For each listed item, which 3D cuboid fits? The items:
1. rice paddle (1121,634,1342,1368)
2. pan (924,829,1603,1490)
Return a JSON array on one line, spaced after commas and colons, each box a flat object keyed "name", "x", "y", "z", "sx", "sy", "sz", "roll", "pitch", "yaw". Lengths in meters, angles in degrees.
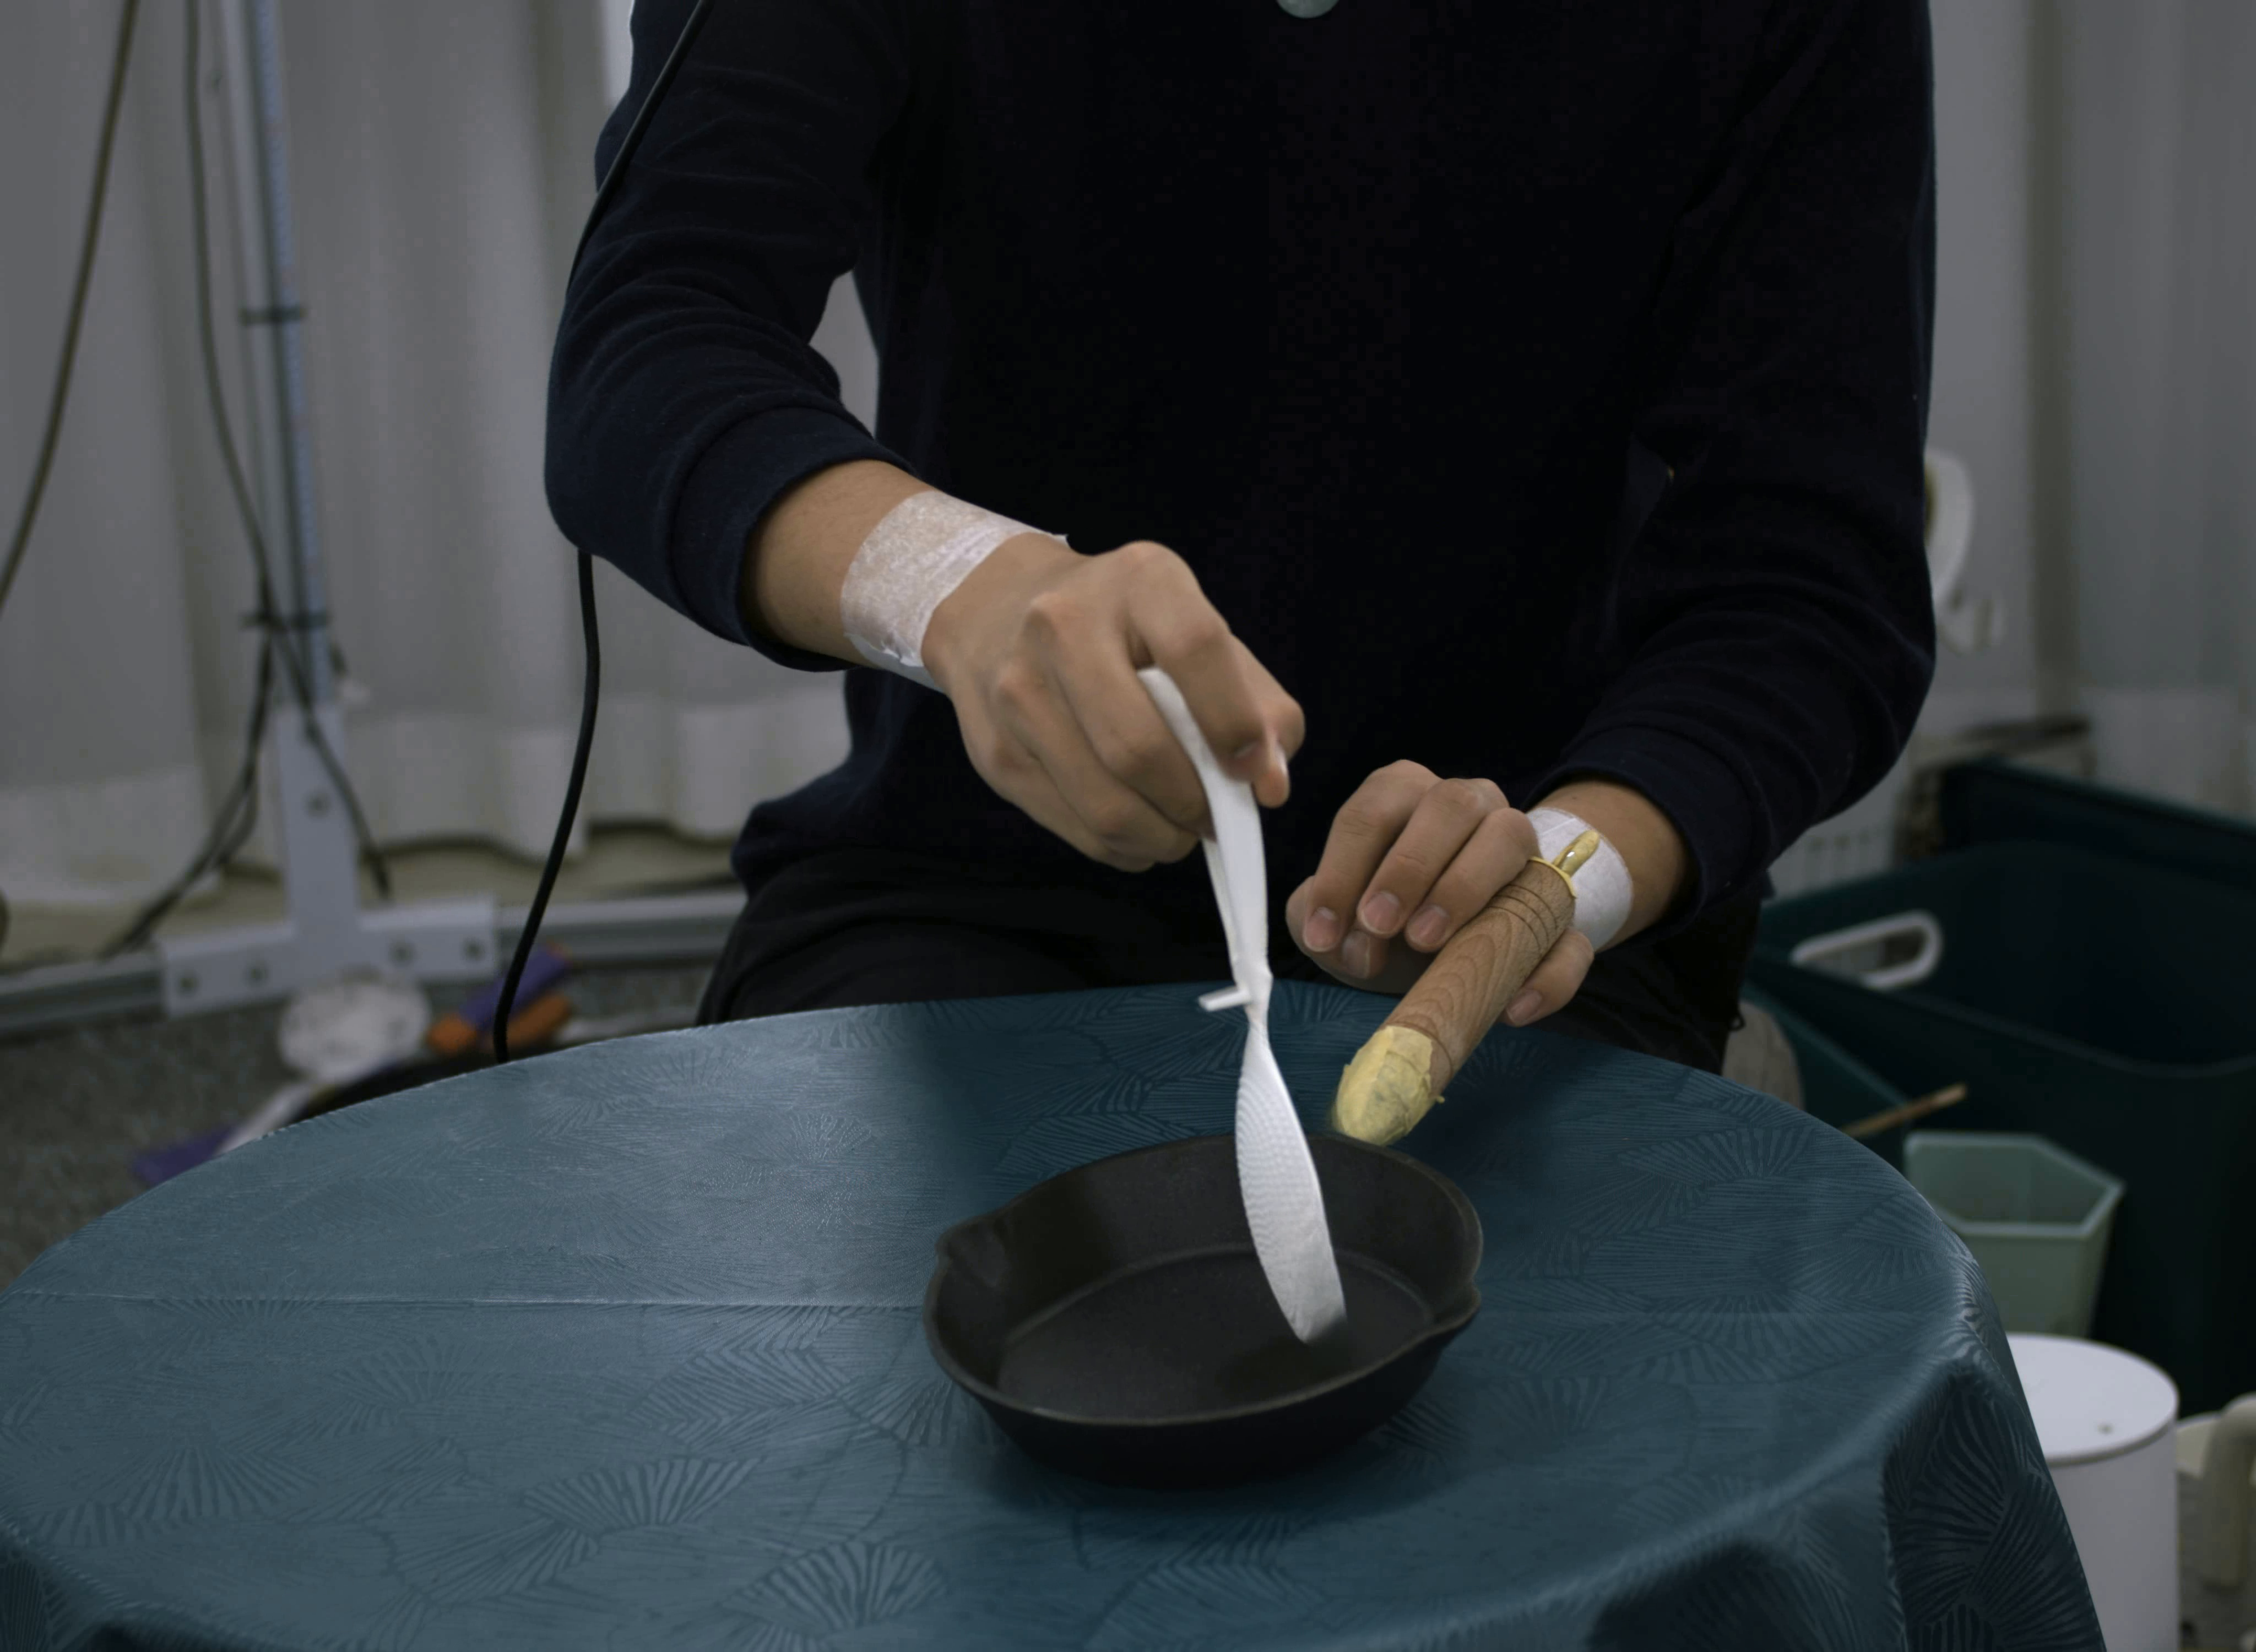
[{"name": "rice paddle", "x": 0.035, "y": 0.050, "z": 1.499, "sx": 0.029, "sy": 0.205, "sz": 0.069, "roll": -14, "pitch": 6, "yaw": -9}, {"name": "pan", "x": 0.065, "y": 0.093, "z": 1.579, "sx": 0.169, "sy": 0.049, "sz": 0.326, "roll": 6, "pitch": 30, "yaw": 32}]
